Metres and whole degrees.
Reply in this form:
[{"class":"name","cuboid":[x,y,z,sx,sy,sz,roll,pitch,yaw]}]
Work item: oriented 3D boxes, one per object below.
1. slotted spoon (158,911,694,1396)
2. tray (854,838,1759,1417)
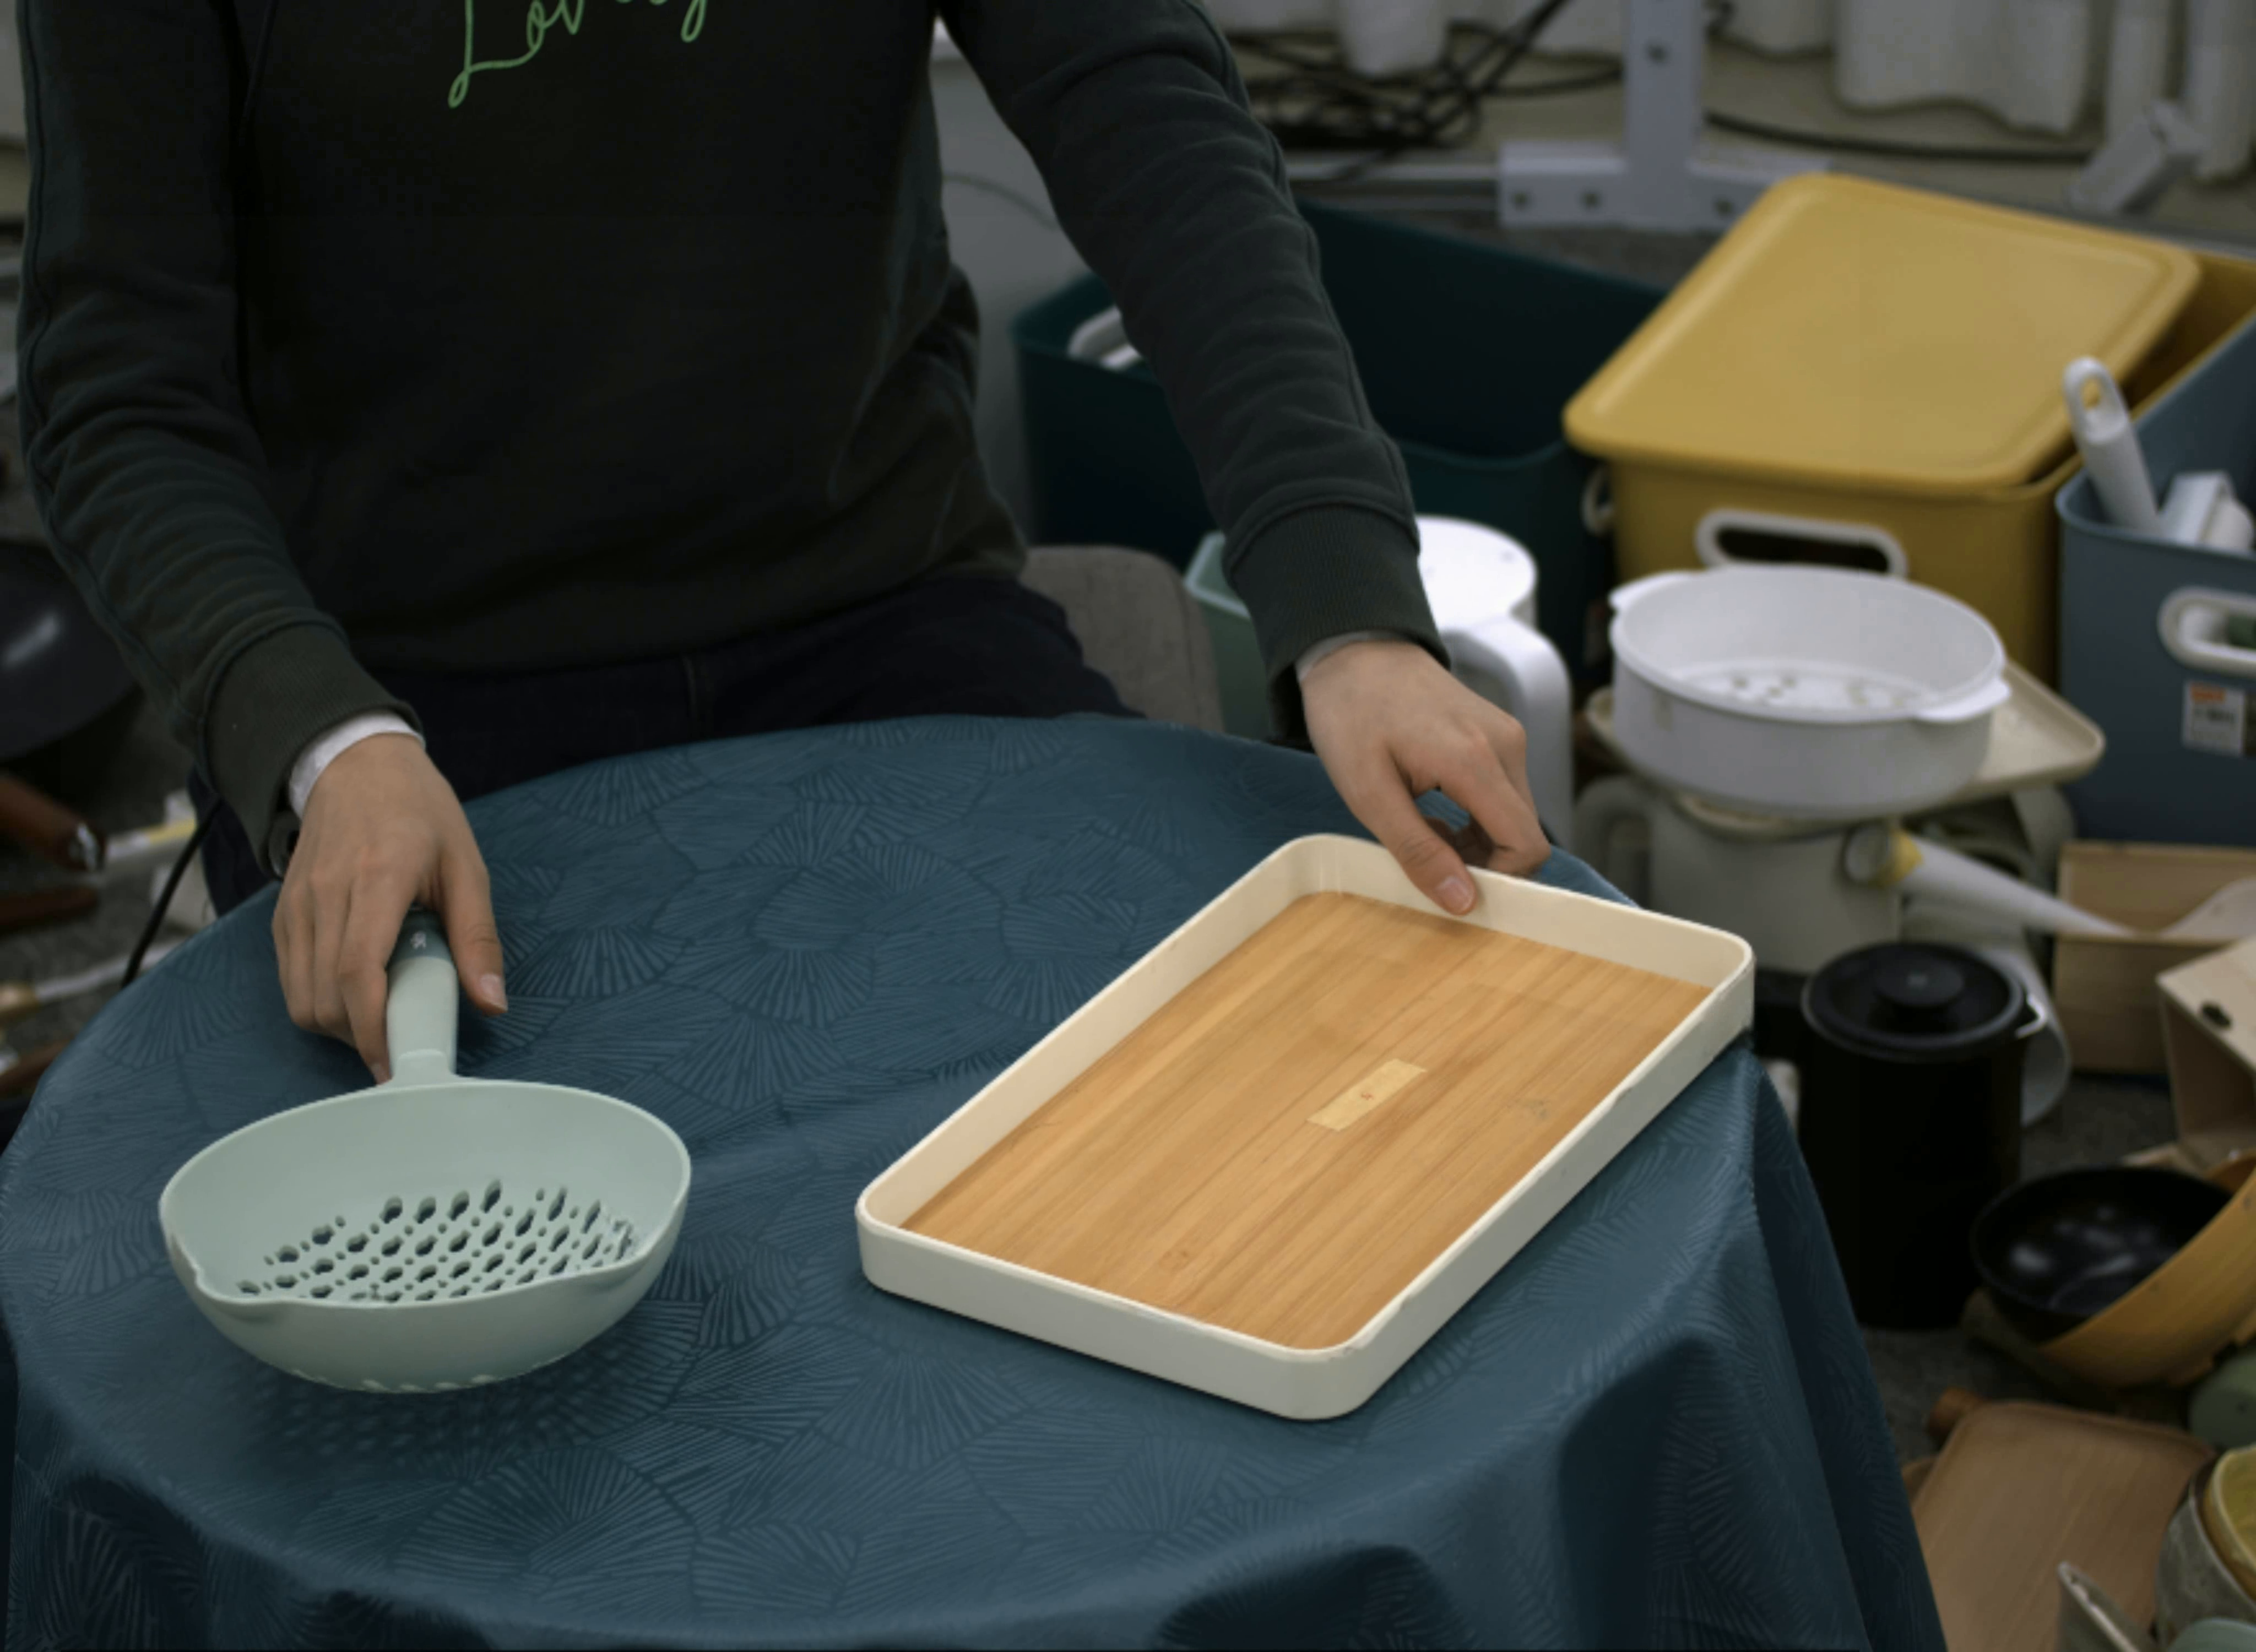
[{"class":"slotted spoon","cuboid":[-0.233,0.093,1.868,0.169,0.074,0.363,-4,28,-6]},{"class":"tray","cuboid":[0.064,0.094,1.879,0.190,0.027,0.305,14,32,30]}]
